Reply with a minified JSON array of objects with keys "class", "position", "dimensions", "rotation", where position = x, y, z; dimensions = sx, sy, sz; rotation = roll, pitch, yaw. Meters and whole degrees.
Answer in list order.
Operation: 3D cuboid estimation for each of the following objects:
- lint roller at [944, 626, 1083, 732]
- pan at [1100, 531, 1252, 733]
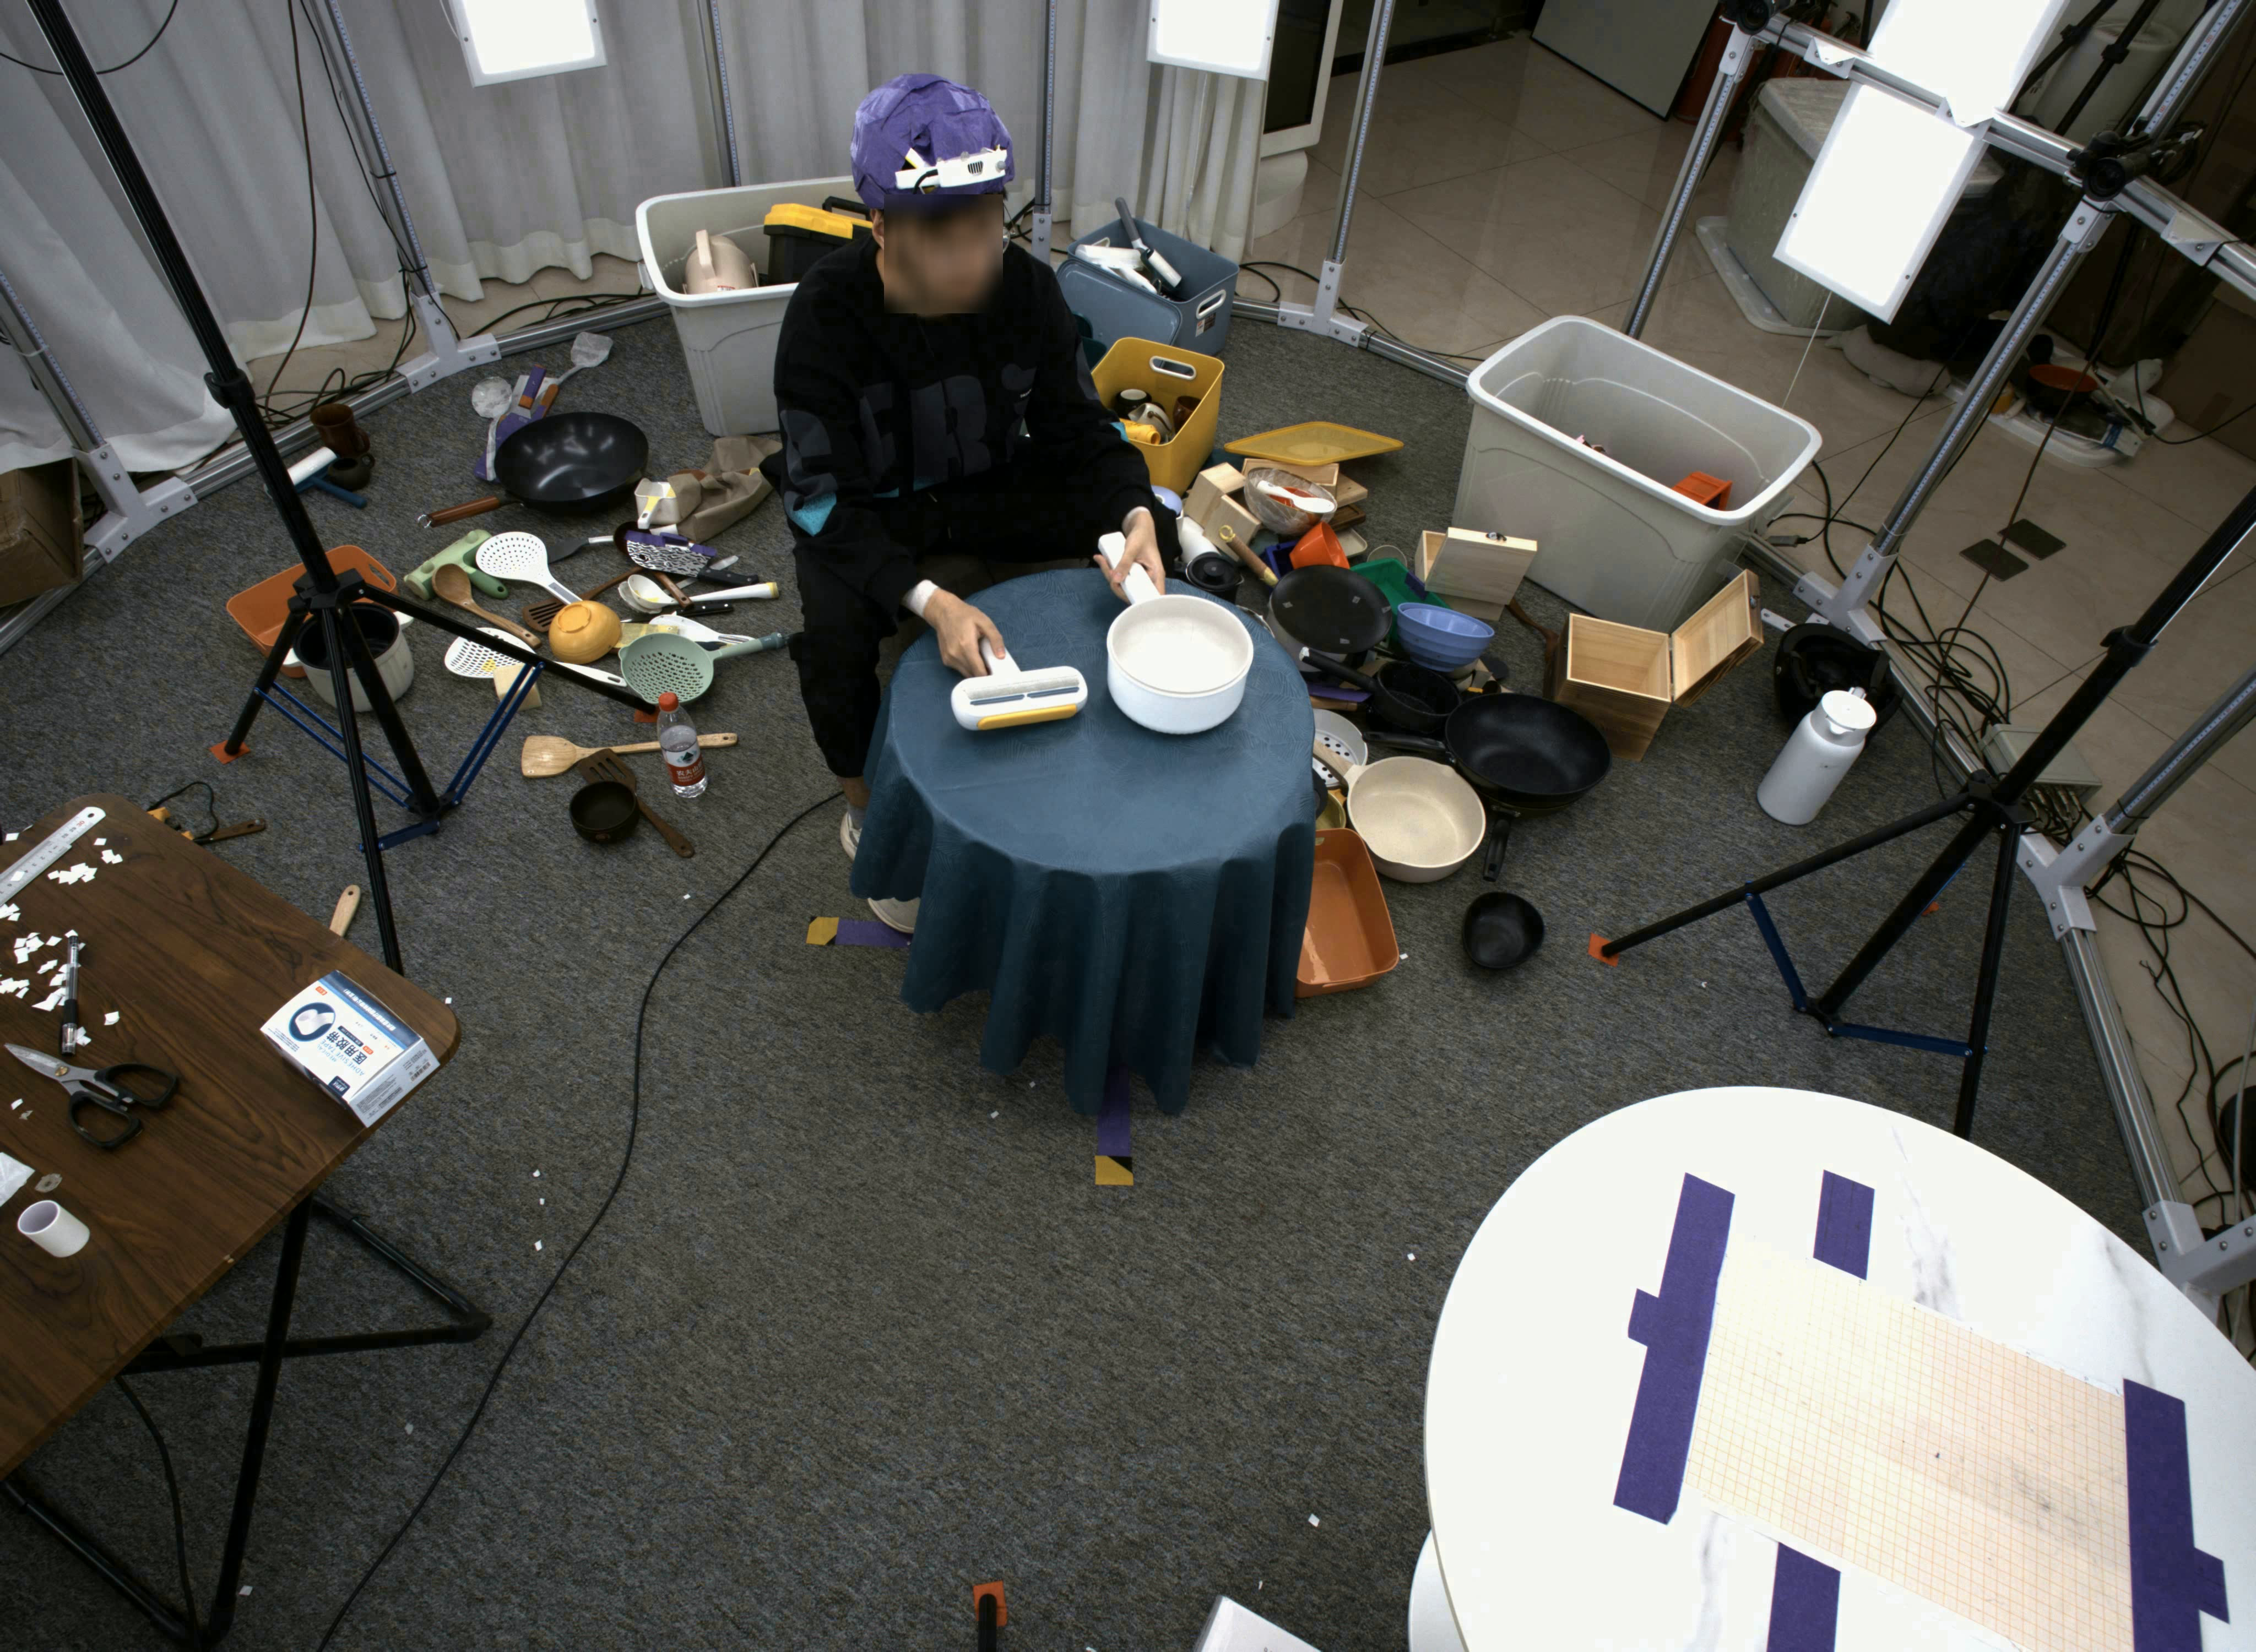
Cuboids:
[{"class":"lint roller","position":[-0.174,-0.218,1.791],"dimensions":[0.192,0.072,0.197],"rotation":[-9,57,-18]},{"class":"pan","position":[0.039,-0.278,1.846],"dimensions":[0.201,0.099,0.363],"rotation":[-16,52,-16]}]
